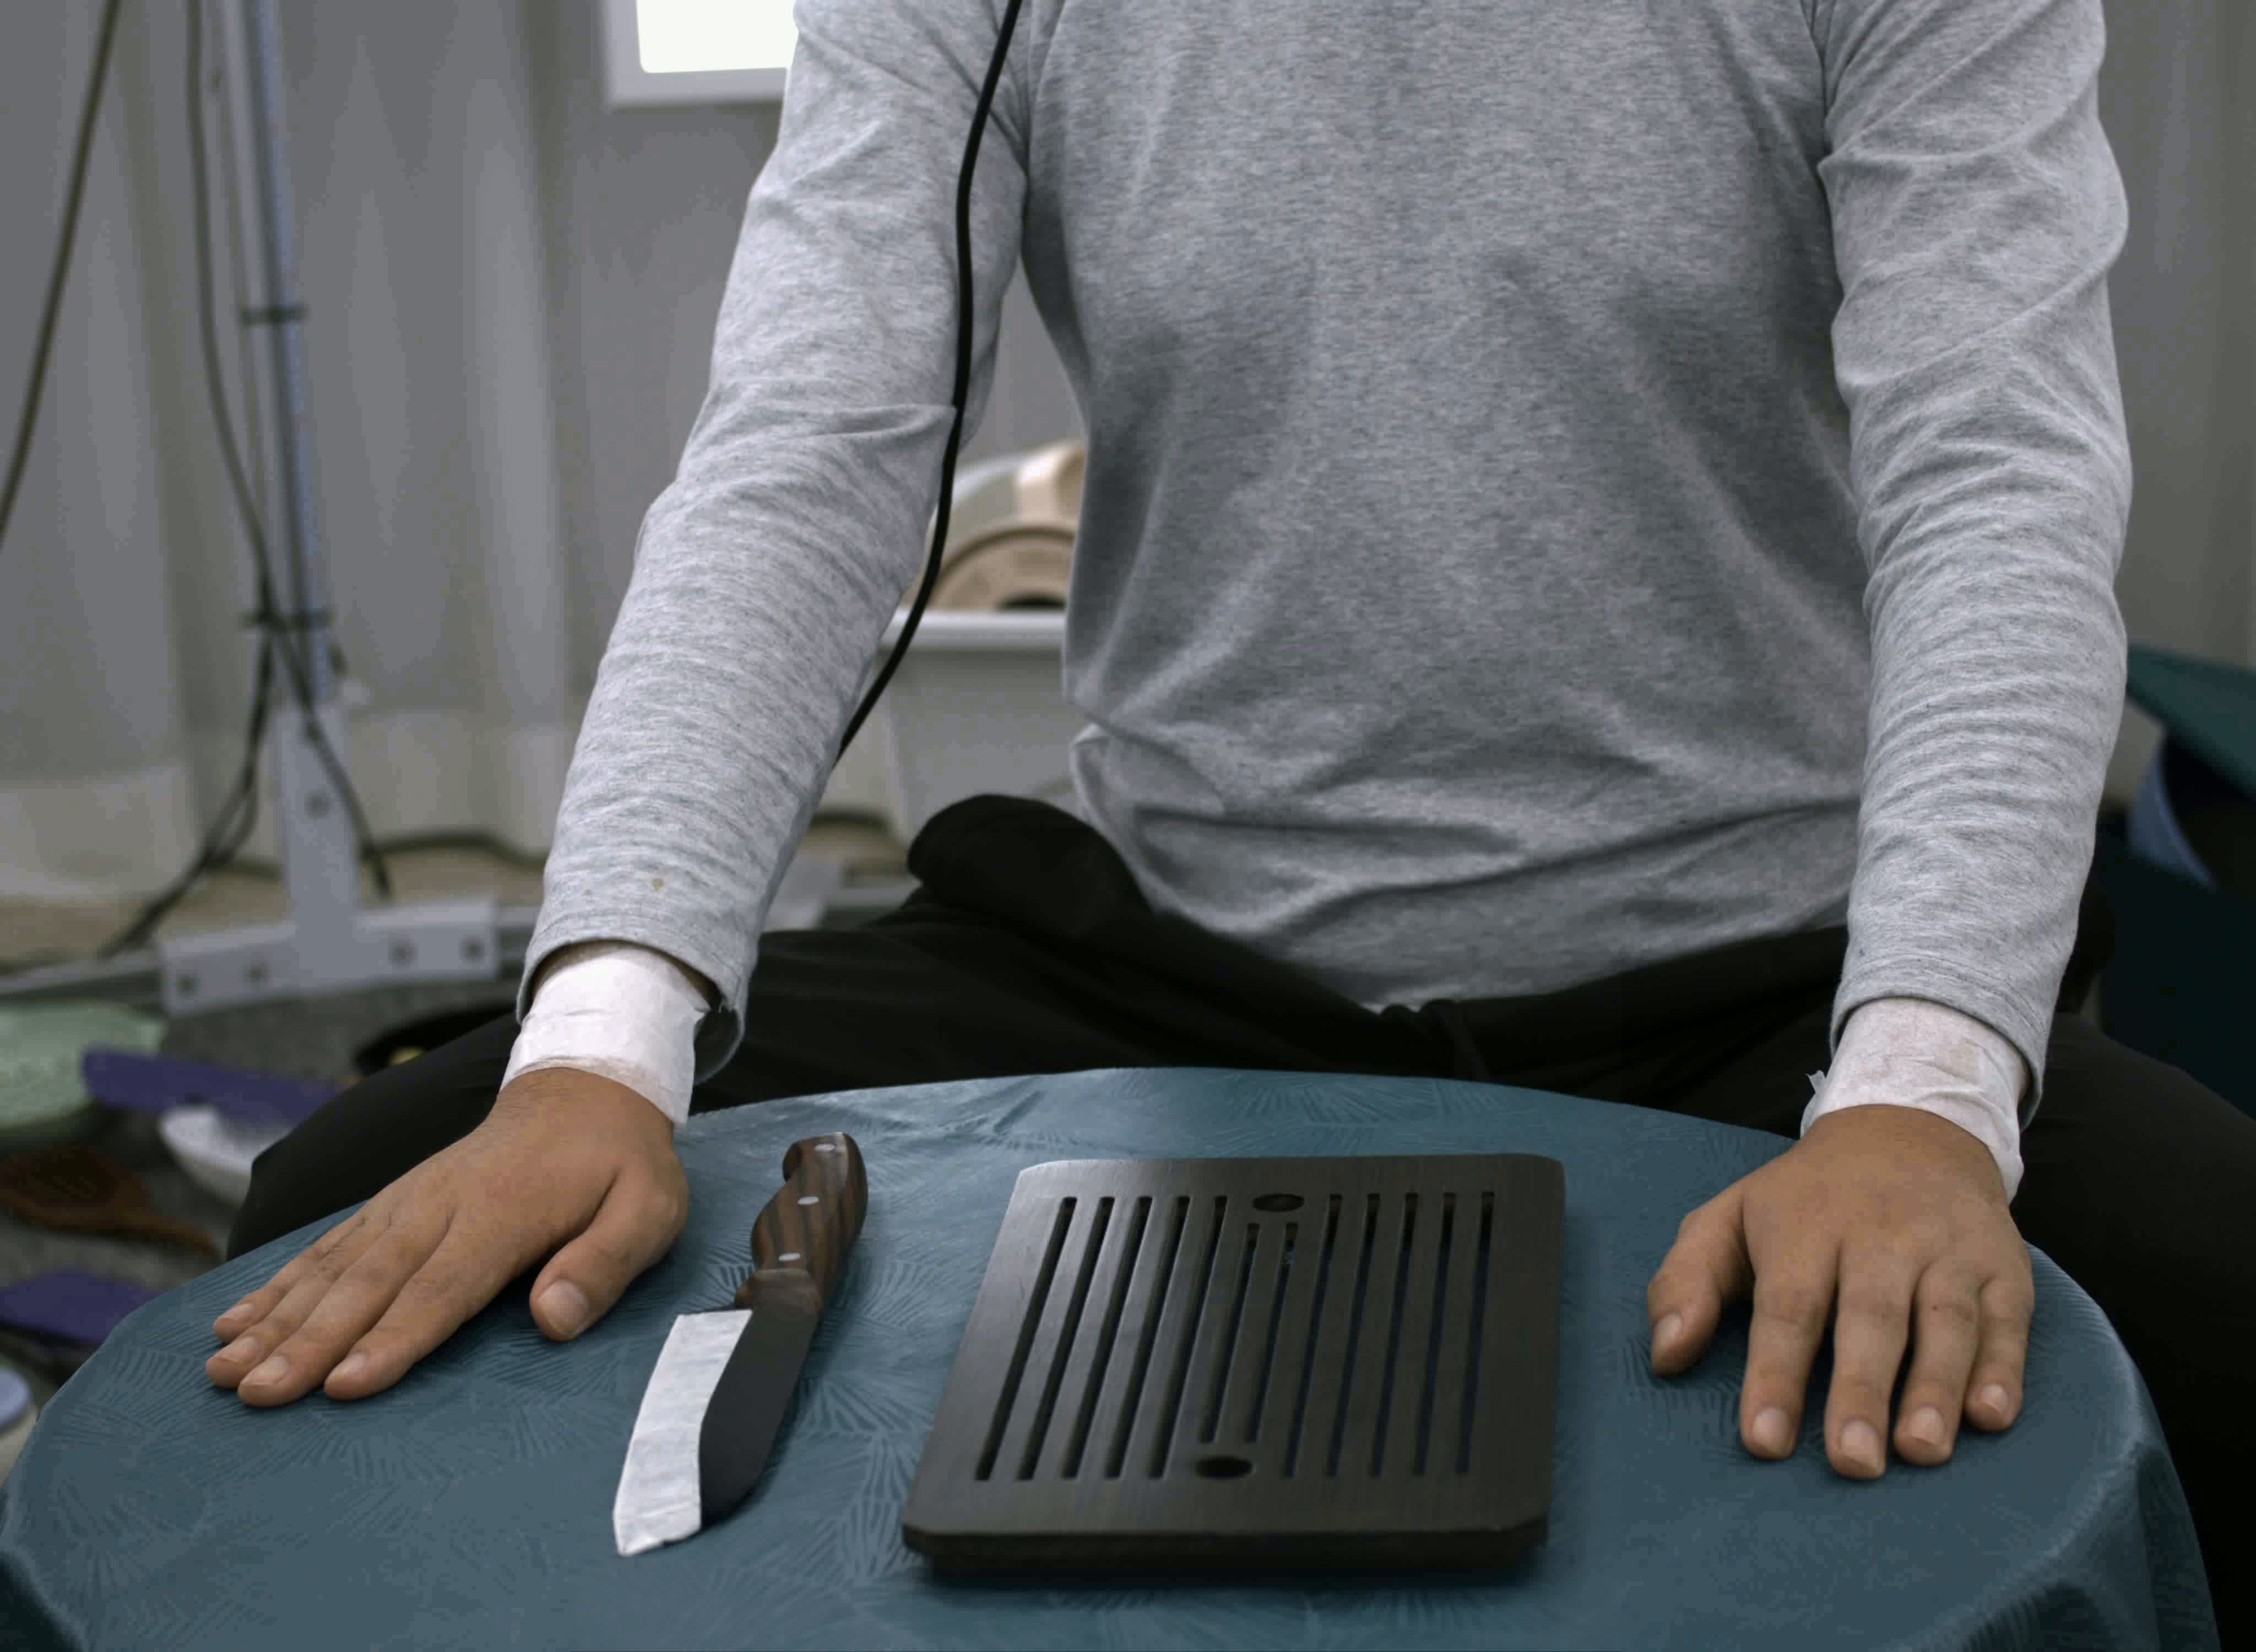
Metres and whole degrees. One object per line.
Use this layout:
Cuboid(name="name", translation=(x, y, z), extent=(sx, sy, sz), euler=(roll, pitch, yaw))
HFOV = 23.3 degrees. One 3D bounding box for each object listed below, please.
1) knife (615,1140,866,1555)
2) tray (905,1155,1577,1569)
Cuboid(name="knife", translation=(-0.110, 0.149, 1.580), extent=(0.050, 0.020, 0.291), euler=(-6, 16, 9))
Cuboid(name="tray", translation=(0.040, 0.149, 1.546), extent=(0.170, 0.018, 0.307), euler=(-1, 14, 6))
